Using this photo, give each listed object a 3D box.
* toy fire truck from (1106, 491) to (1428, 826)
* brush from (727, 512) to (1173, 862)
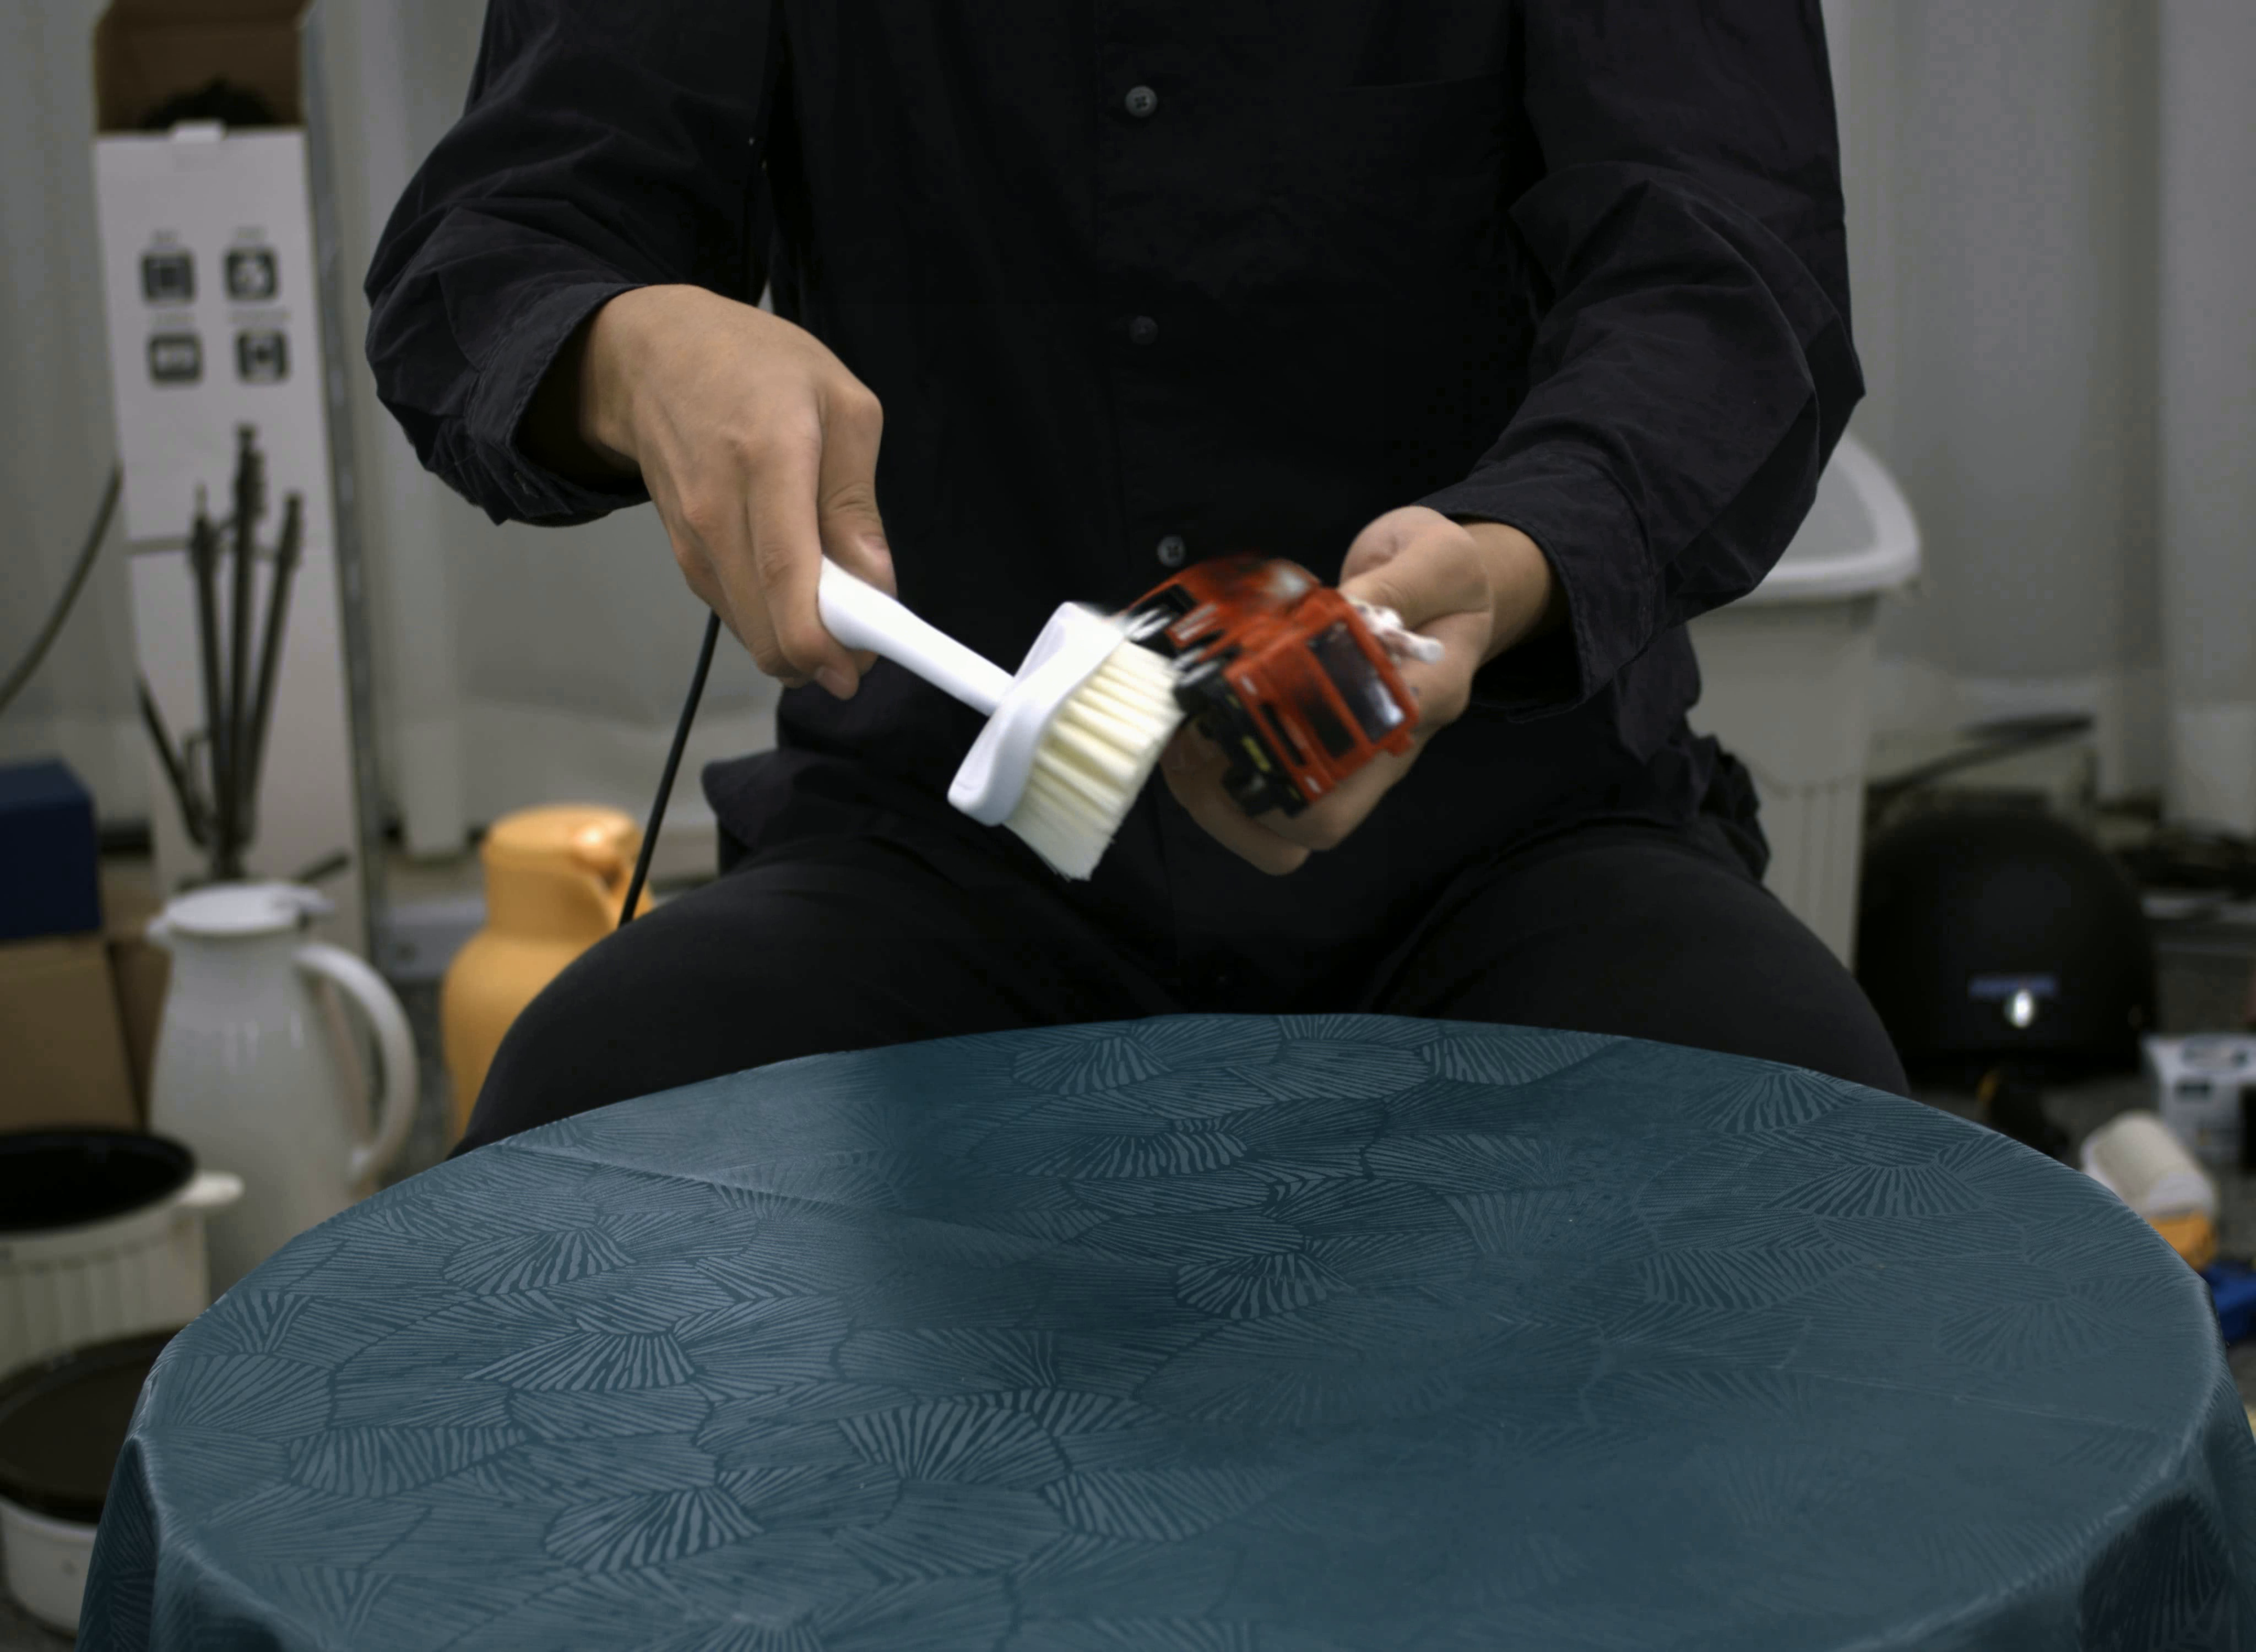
[{"bbox_3d":[0.038,-0.049,1.523,0.070,0.054,0.169,-34,13,-2],"label":"toy fire truck"},{"bbox_3d":[-0.041,-0.048,1.616,0.083,0.084,0.327,-26,16,-10],"label":"brush"}]
